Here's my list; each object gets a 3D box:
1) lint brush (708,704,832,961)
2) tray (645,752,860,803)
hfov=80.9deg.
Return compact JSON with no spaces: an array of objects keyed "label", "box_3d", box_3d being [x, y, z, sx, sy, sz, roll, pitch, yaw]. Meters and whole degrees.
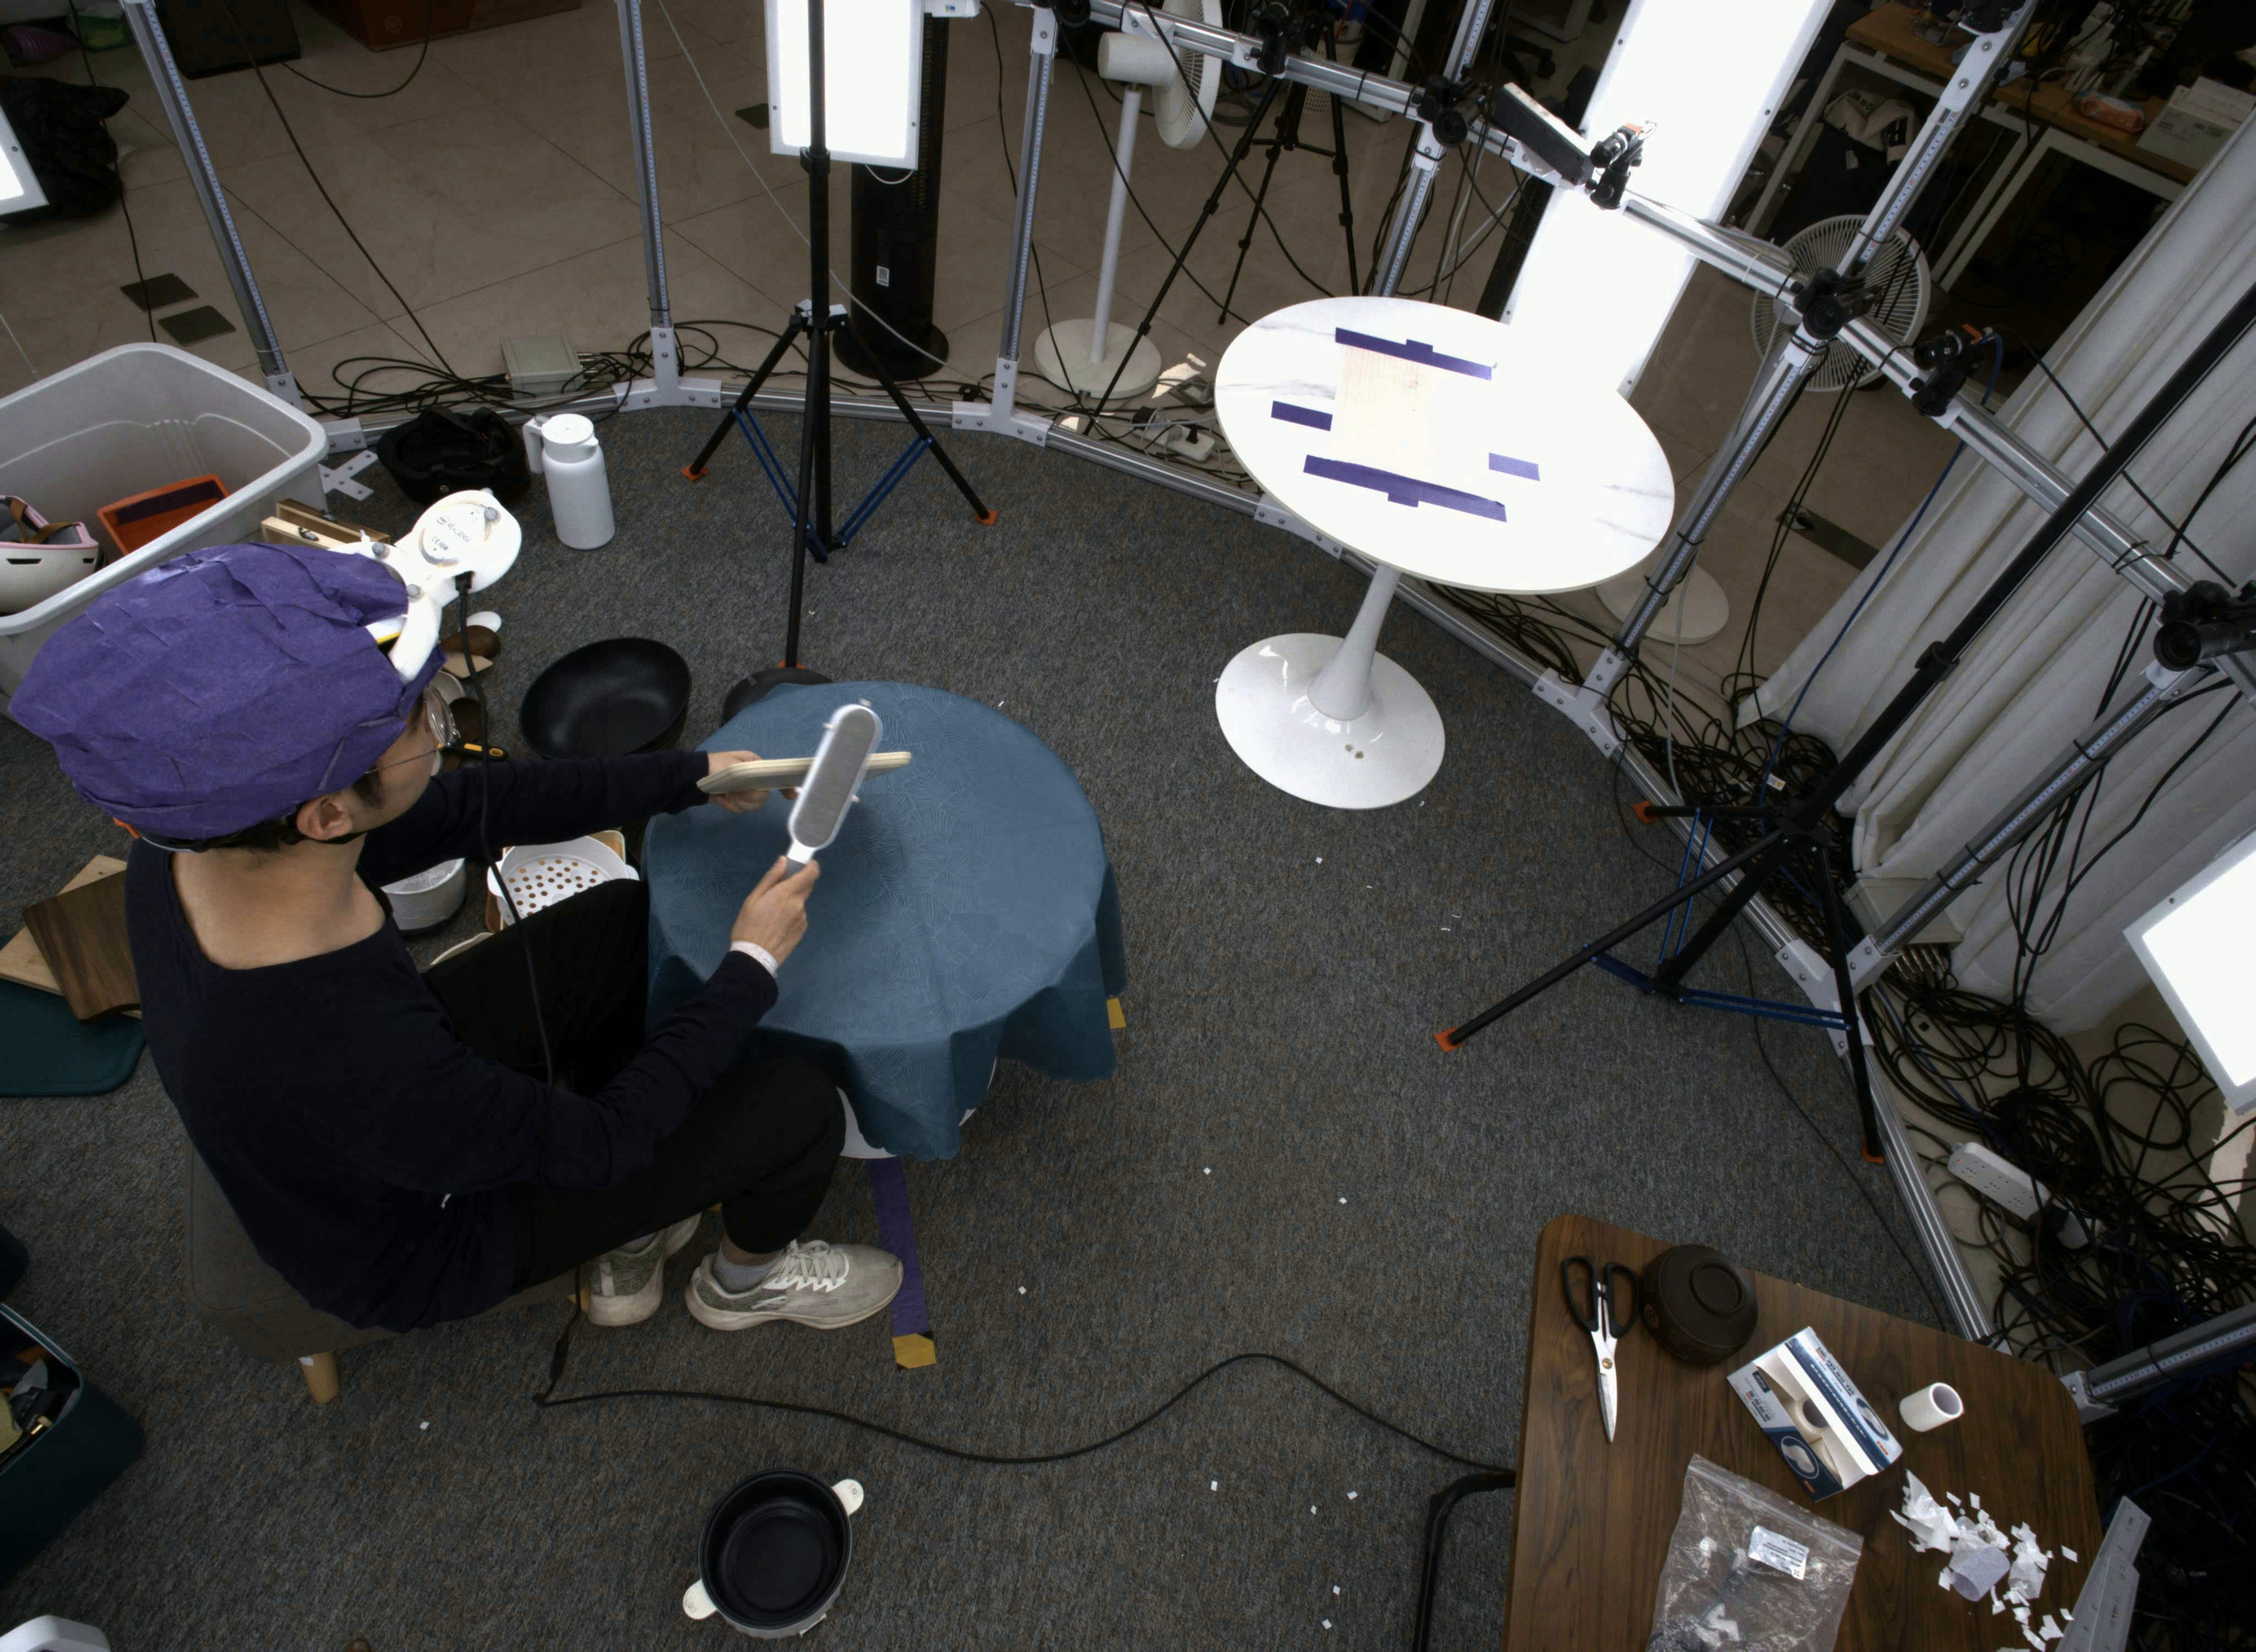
[{"label":"lint brush","box_3d":[-0.420,0.007,1.497,0.062,0.020,0.311,24,87,-37]},{"label":"tray","box_3d":[-0.465,-0.060,1.603,0.243,0.167,0.017,-9,88,-41]}]
